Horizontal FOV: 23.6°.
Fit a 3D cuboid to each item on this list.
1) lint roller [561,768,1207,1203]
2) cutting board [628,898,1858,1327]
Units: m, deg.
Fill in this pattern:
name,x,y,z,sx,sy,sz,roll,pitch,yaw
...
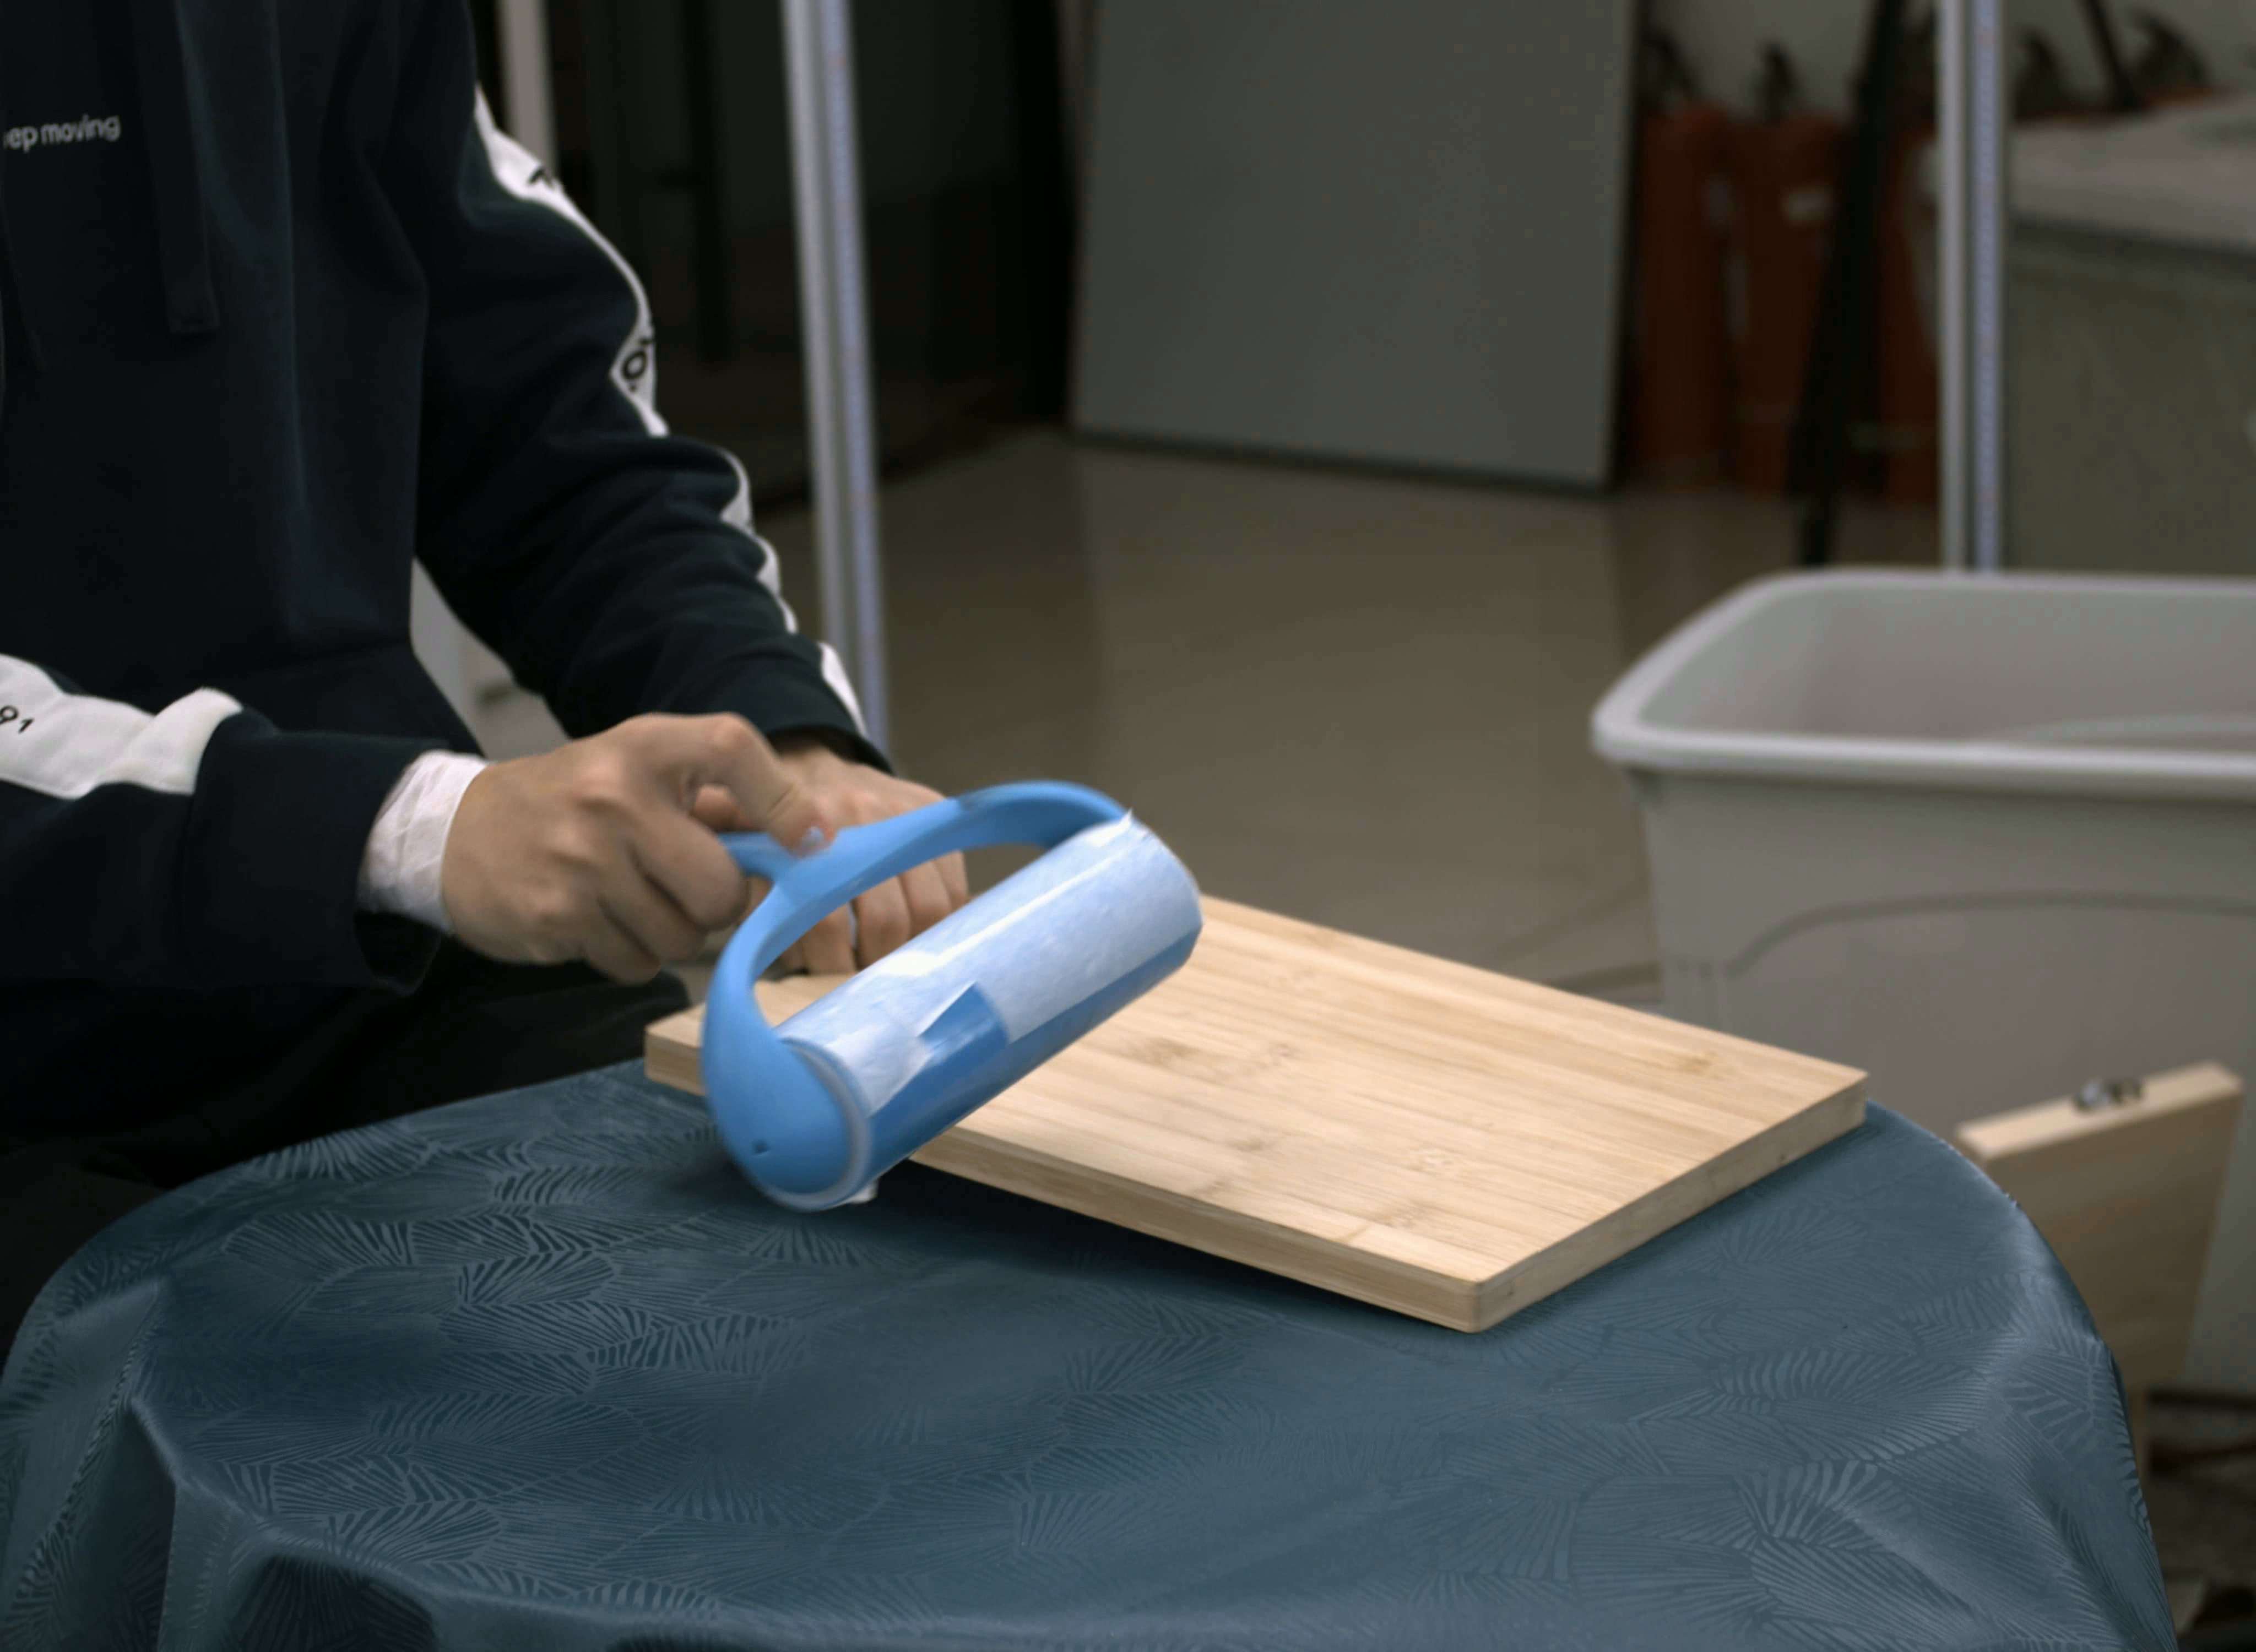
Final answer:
name,x,y,z,sx,sy,sz,roll,pitch,yaw
lint roller,-0.095,0.032,1.639,0.180,0.068,0.226,18,29,22
cutting board,0.037,0.084,1.805,0.351,0.024,0.246,14,21,35
